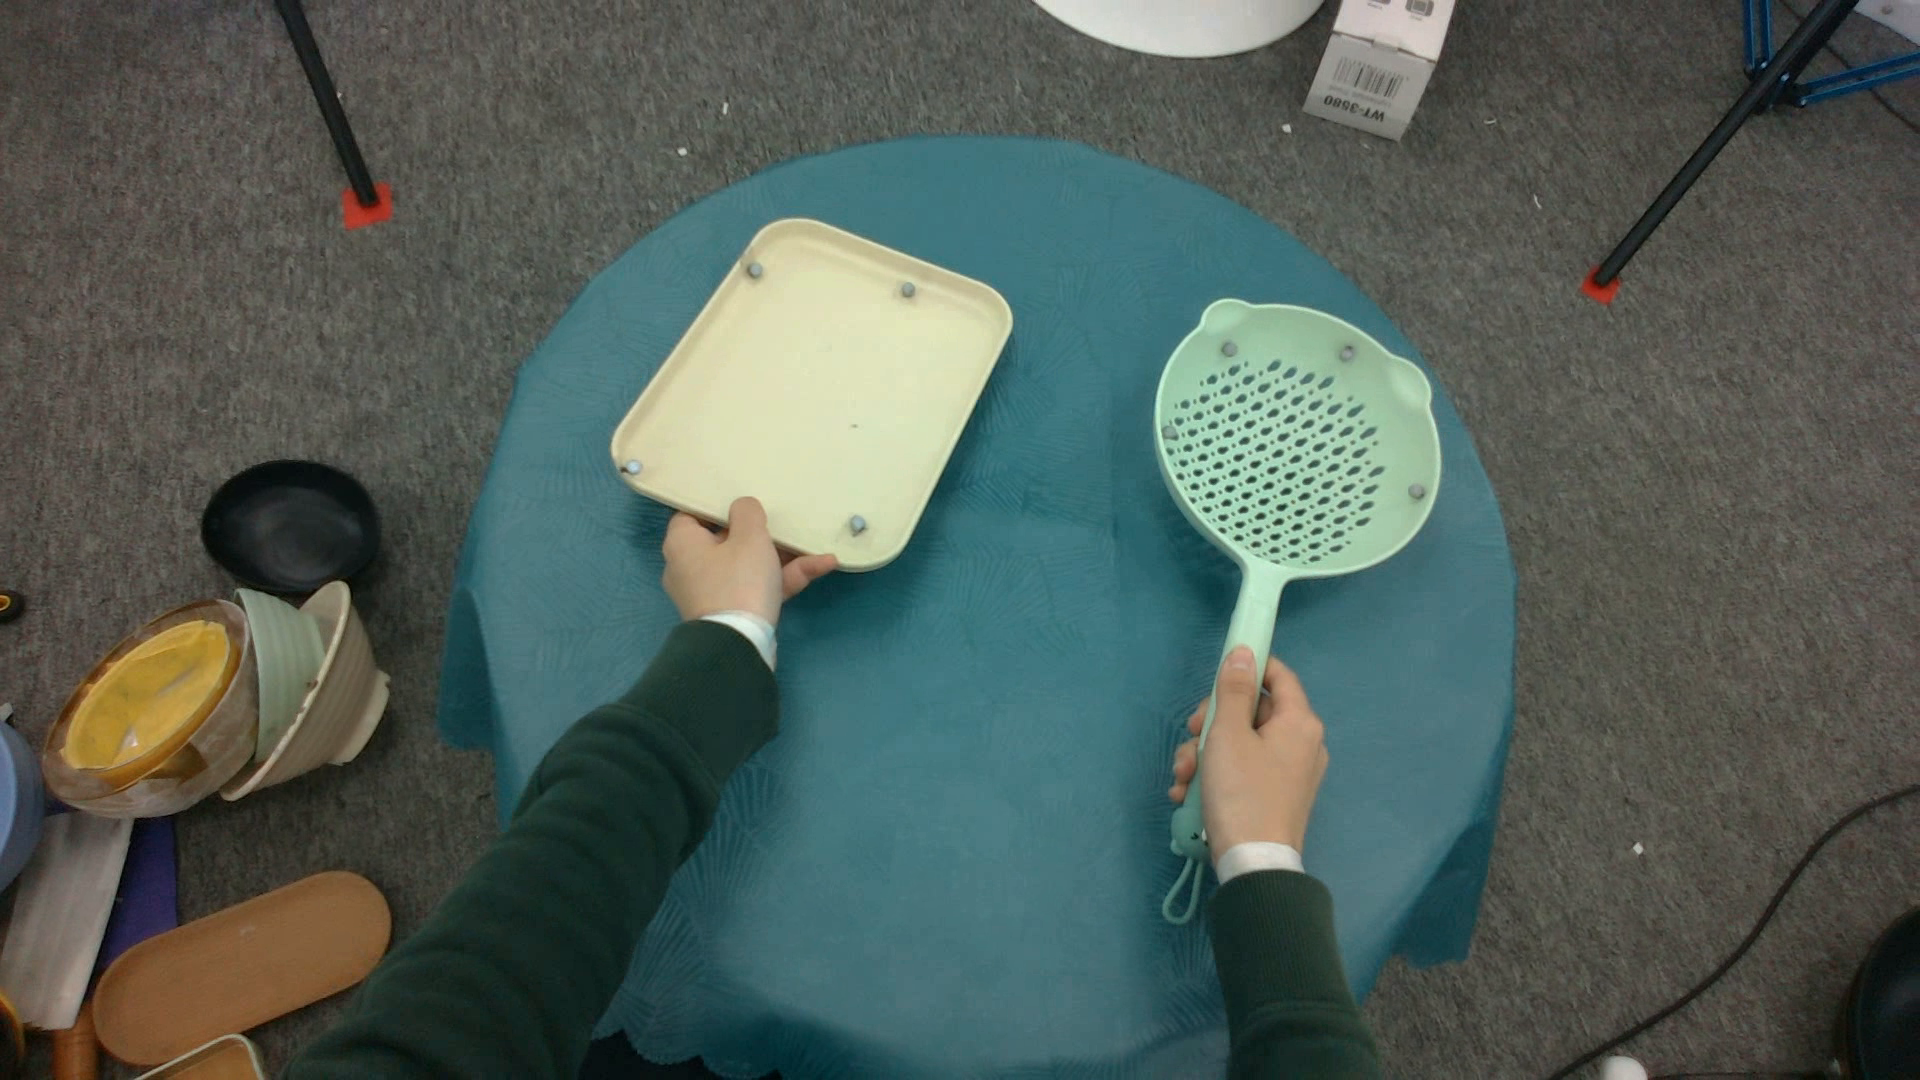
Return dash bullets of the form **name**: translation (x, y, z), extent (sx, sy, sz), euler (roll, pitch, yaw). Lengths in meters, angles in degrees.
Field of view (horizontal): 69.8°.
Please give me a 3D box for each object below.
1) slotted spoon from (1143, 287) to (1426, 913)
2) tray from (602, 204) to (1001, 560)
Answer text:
- **slotted spoon**: translation (0.155, 0.022, 0.745), extent (0.169, 0.075, 0.360), euler (20, 57, -3)
- **tray**: translation (-0.084, -0.097, 0.797), extent (0.171, 0.017, 0.241), euler (21, 53, 4)
